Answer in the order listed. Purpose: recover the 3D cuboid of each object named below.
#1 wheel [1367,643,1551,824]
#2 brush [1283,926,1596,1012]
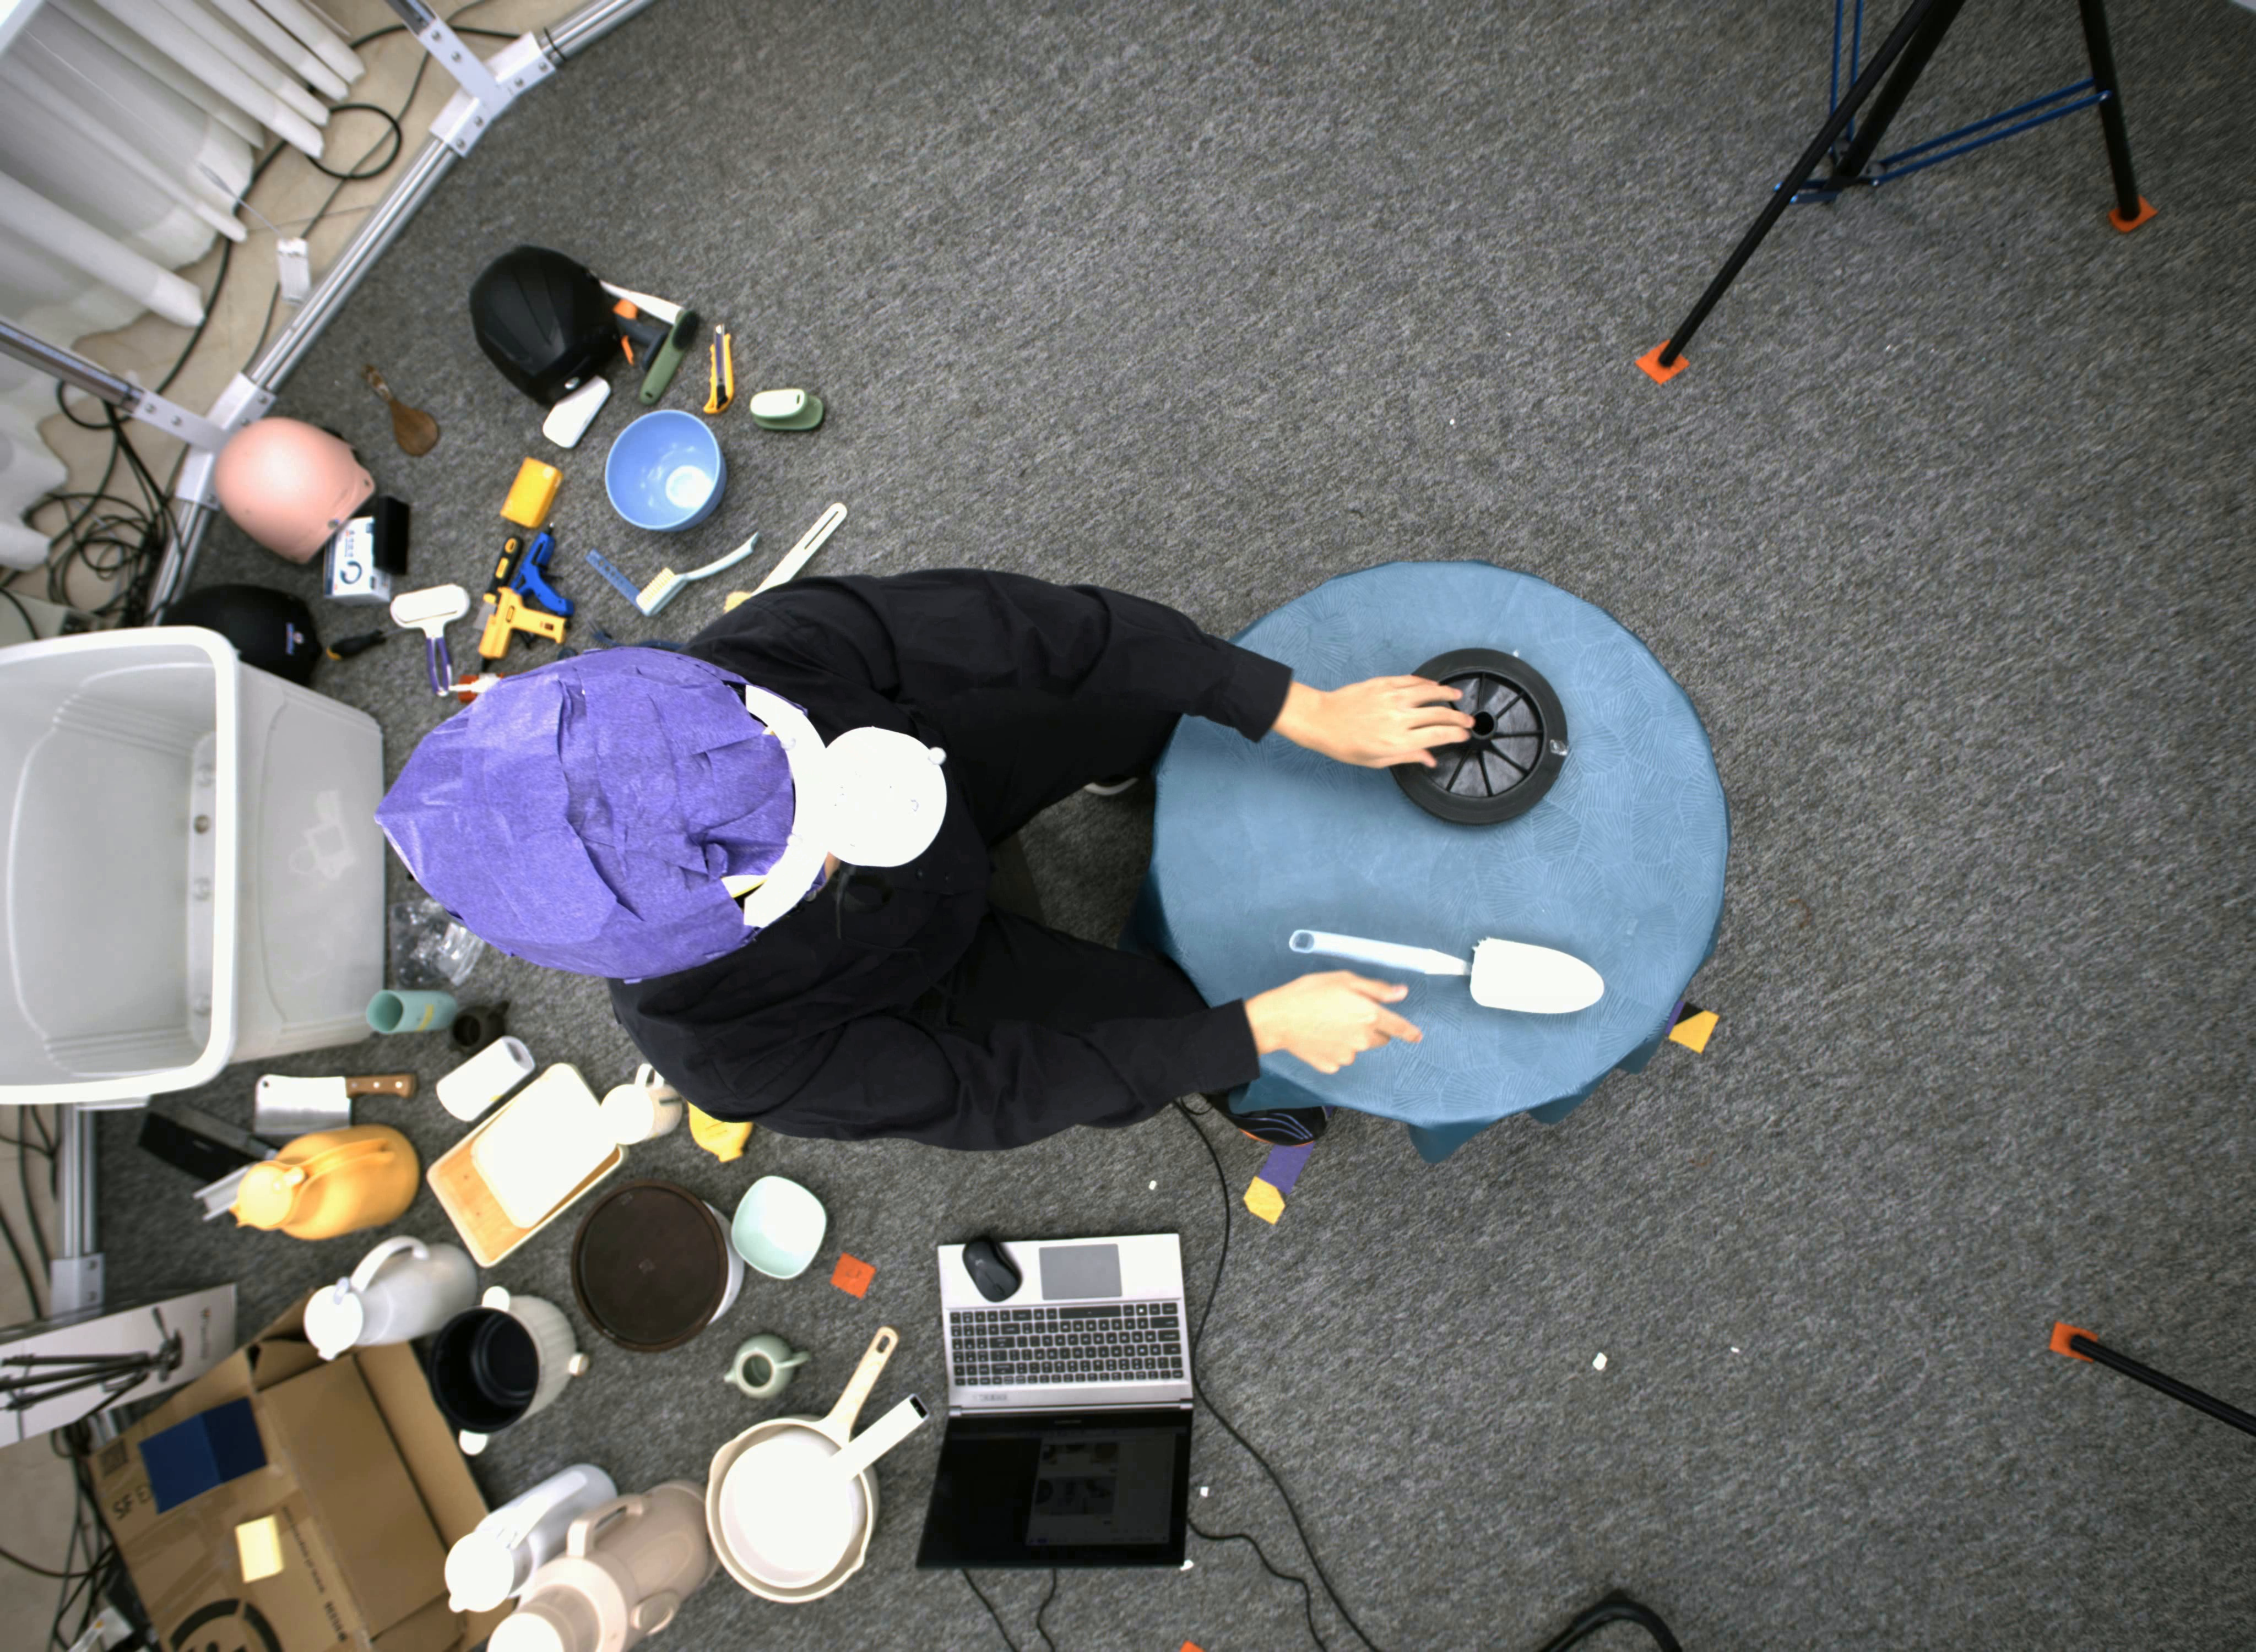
[{"bbox_3d":[0.342,-0.102,1.411,0.188,0.079,0.189,-4,86,7],"label":"wheel"},{"bbox_3d":[0.314,0.133,1.404,0.326,0.087,0.081,9,51,-2],"label":"brush"}]
